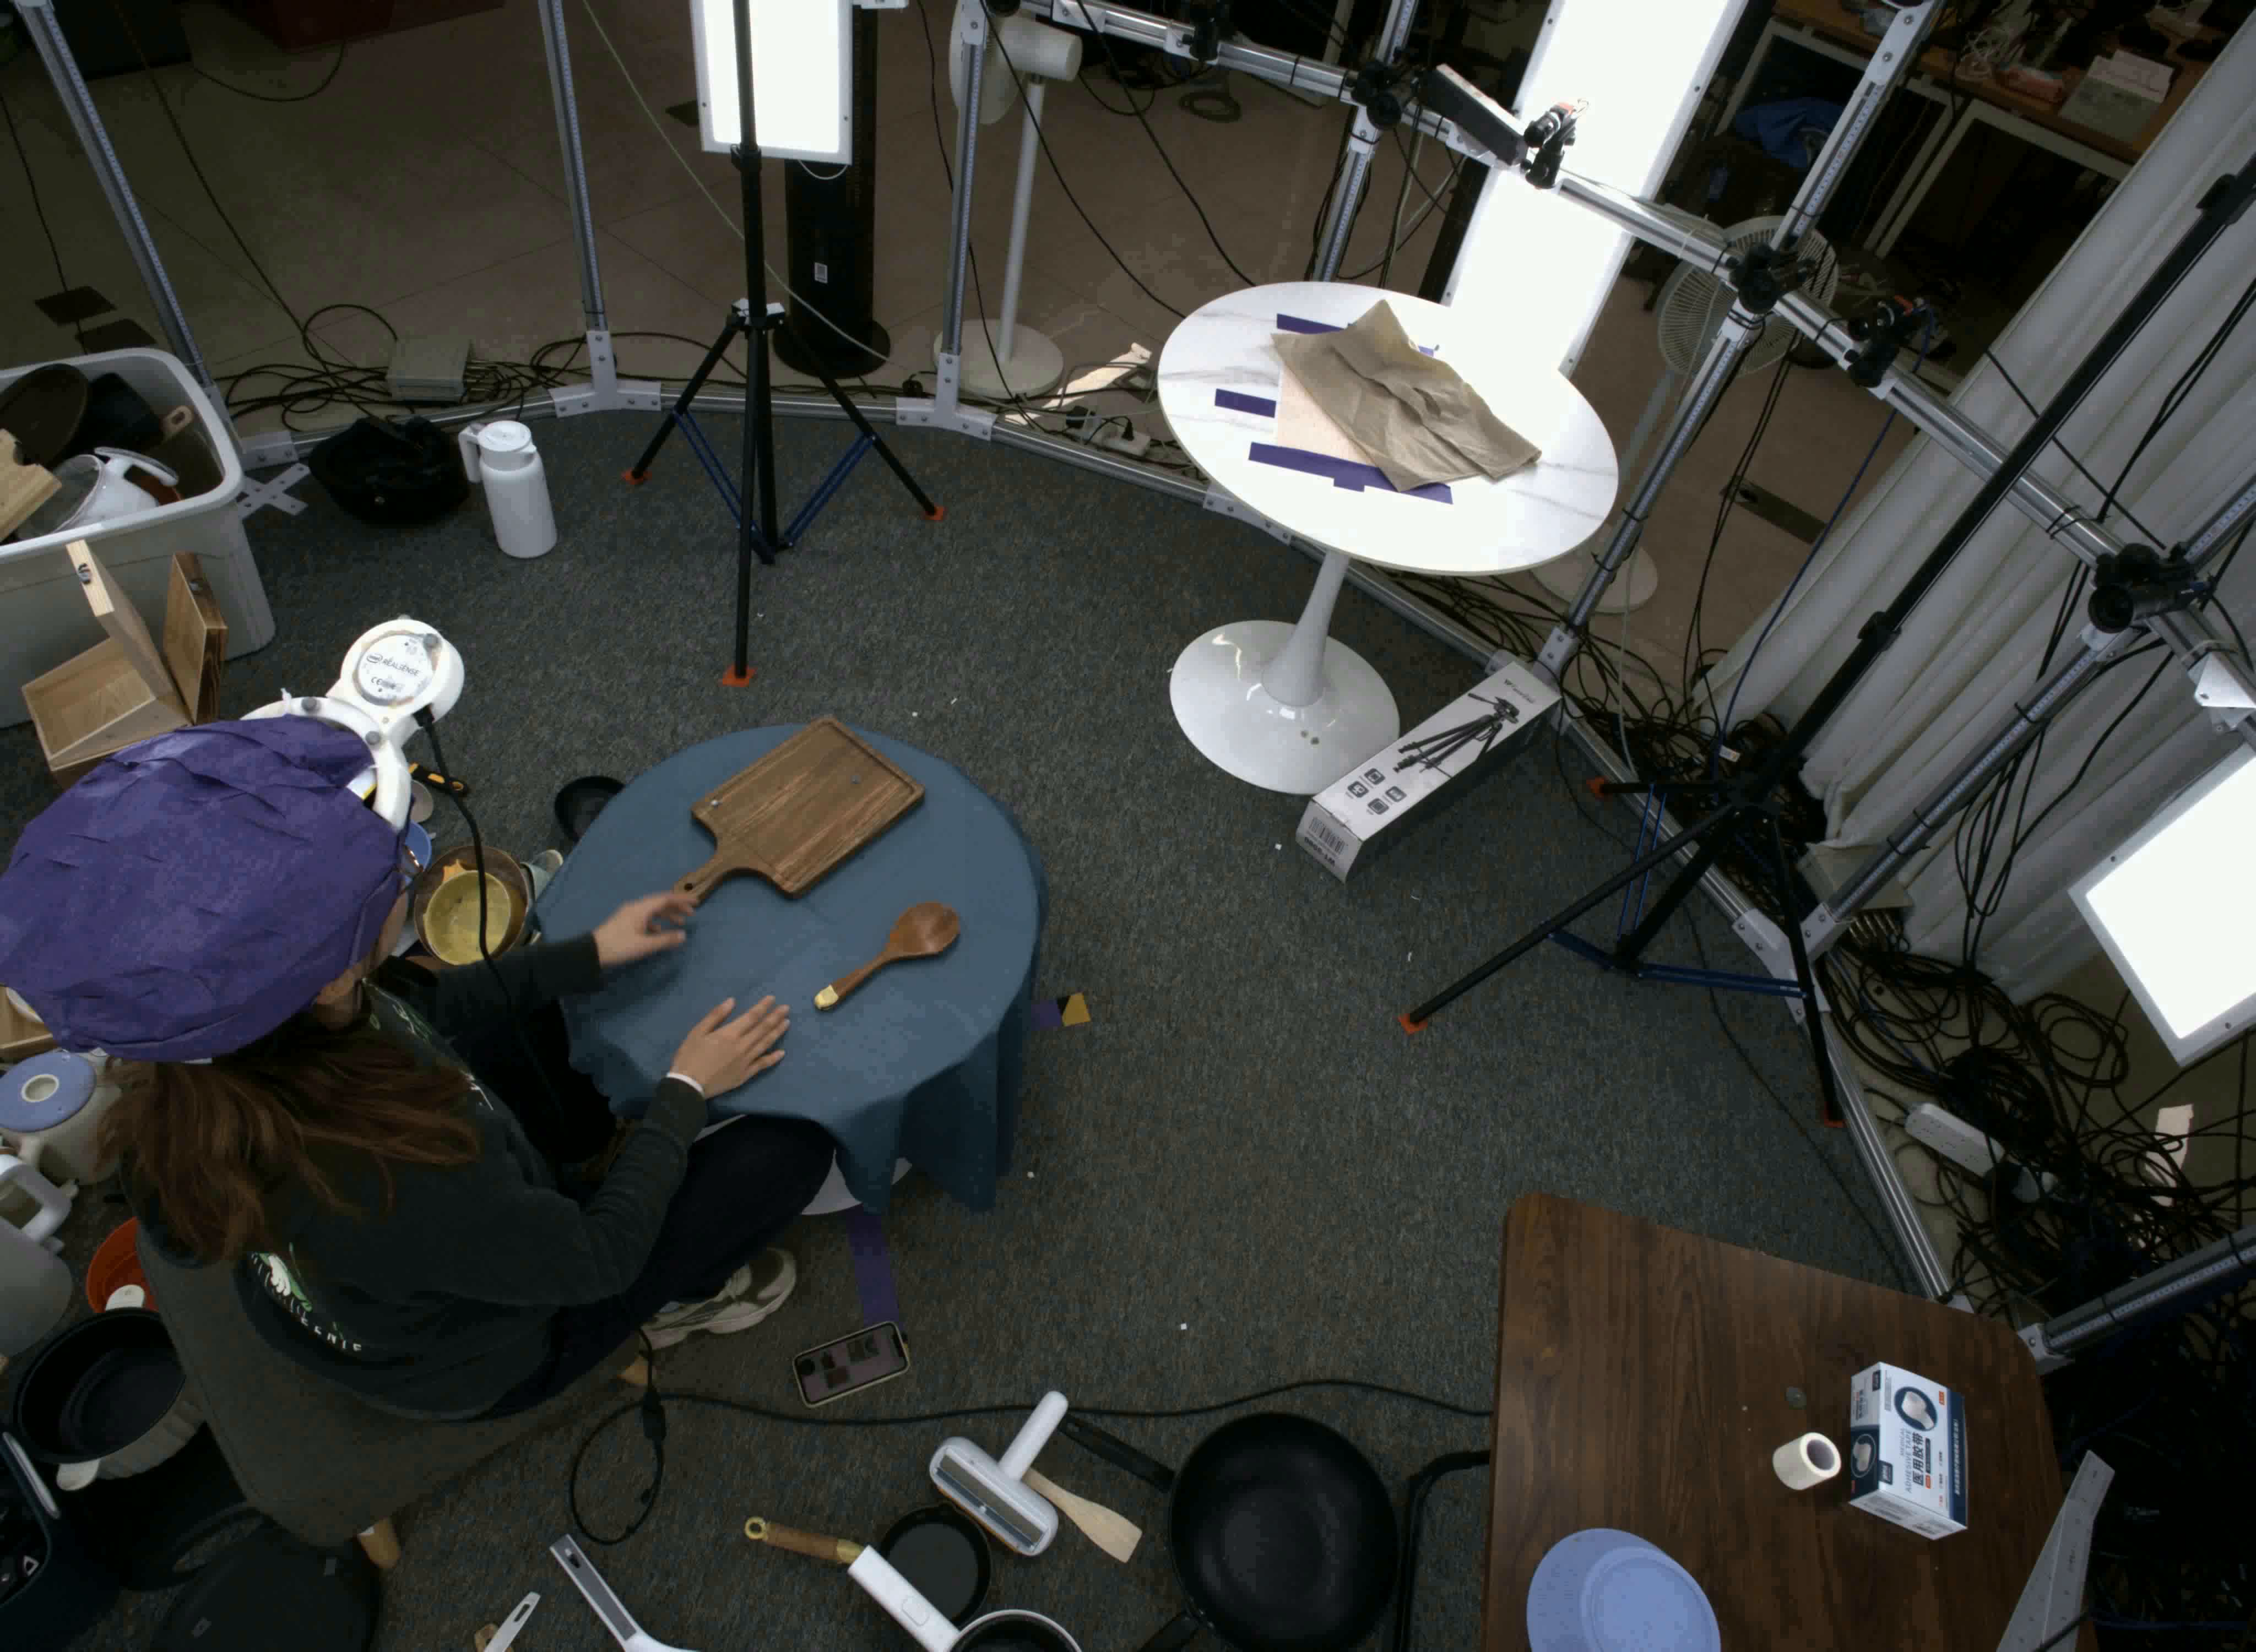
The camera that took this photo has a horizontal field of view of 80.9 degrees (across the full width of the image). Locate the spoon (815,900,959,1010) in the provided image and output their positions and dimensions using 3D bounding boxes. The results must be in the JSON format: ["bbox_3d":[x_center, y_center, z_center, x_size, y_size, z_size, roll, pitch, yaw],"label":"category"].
[{"bbox_3d":[-0.302,0.161,1.629,0.074,0.017,0.216,43,55,16],"label":"spoon"}]

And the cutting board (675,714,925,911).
[{"bbox_3d":[-0.457,-0.004,1.712,0.197,0.023,0.352,38,54,13],"label":"cutting board"}]
